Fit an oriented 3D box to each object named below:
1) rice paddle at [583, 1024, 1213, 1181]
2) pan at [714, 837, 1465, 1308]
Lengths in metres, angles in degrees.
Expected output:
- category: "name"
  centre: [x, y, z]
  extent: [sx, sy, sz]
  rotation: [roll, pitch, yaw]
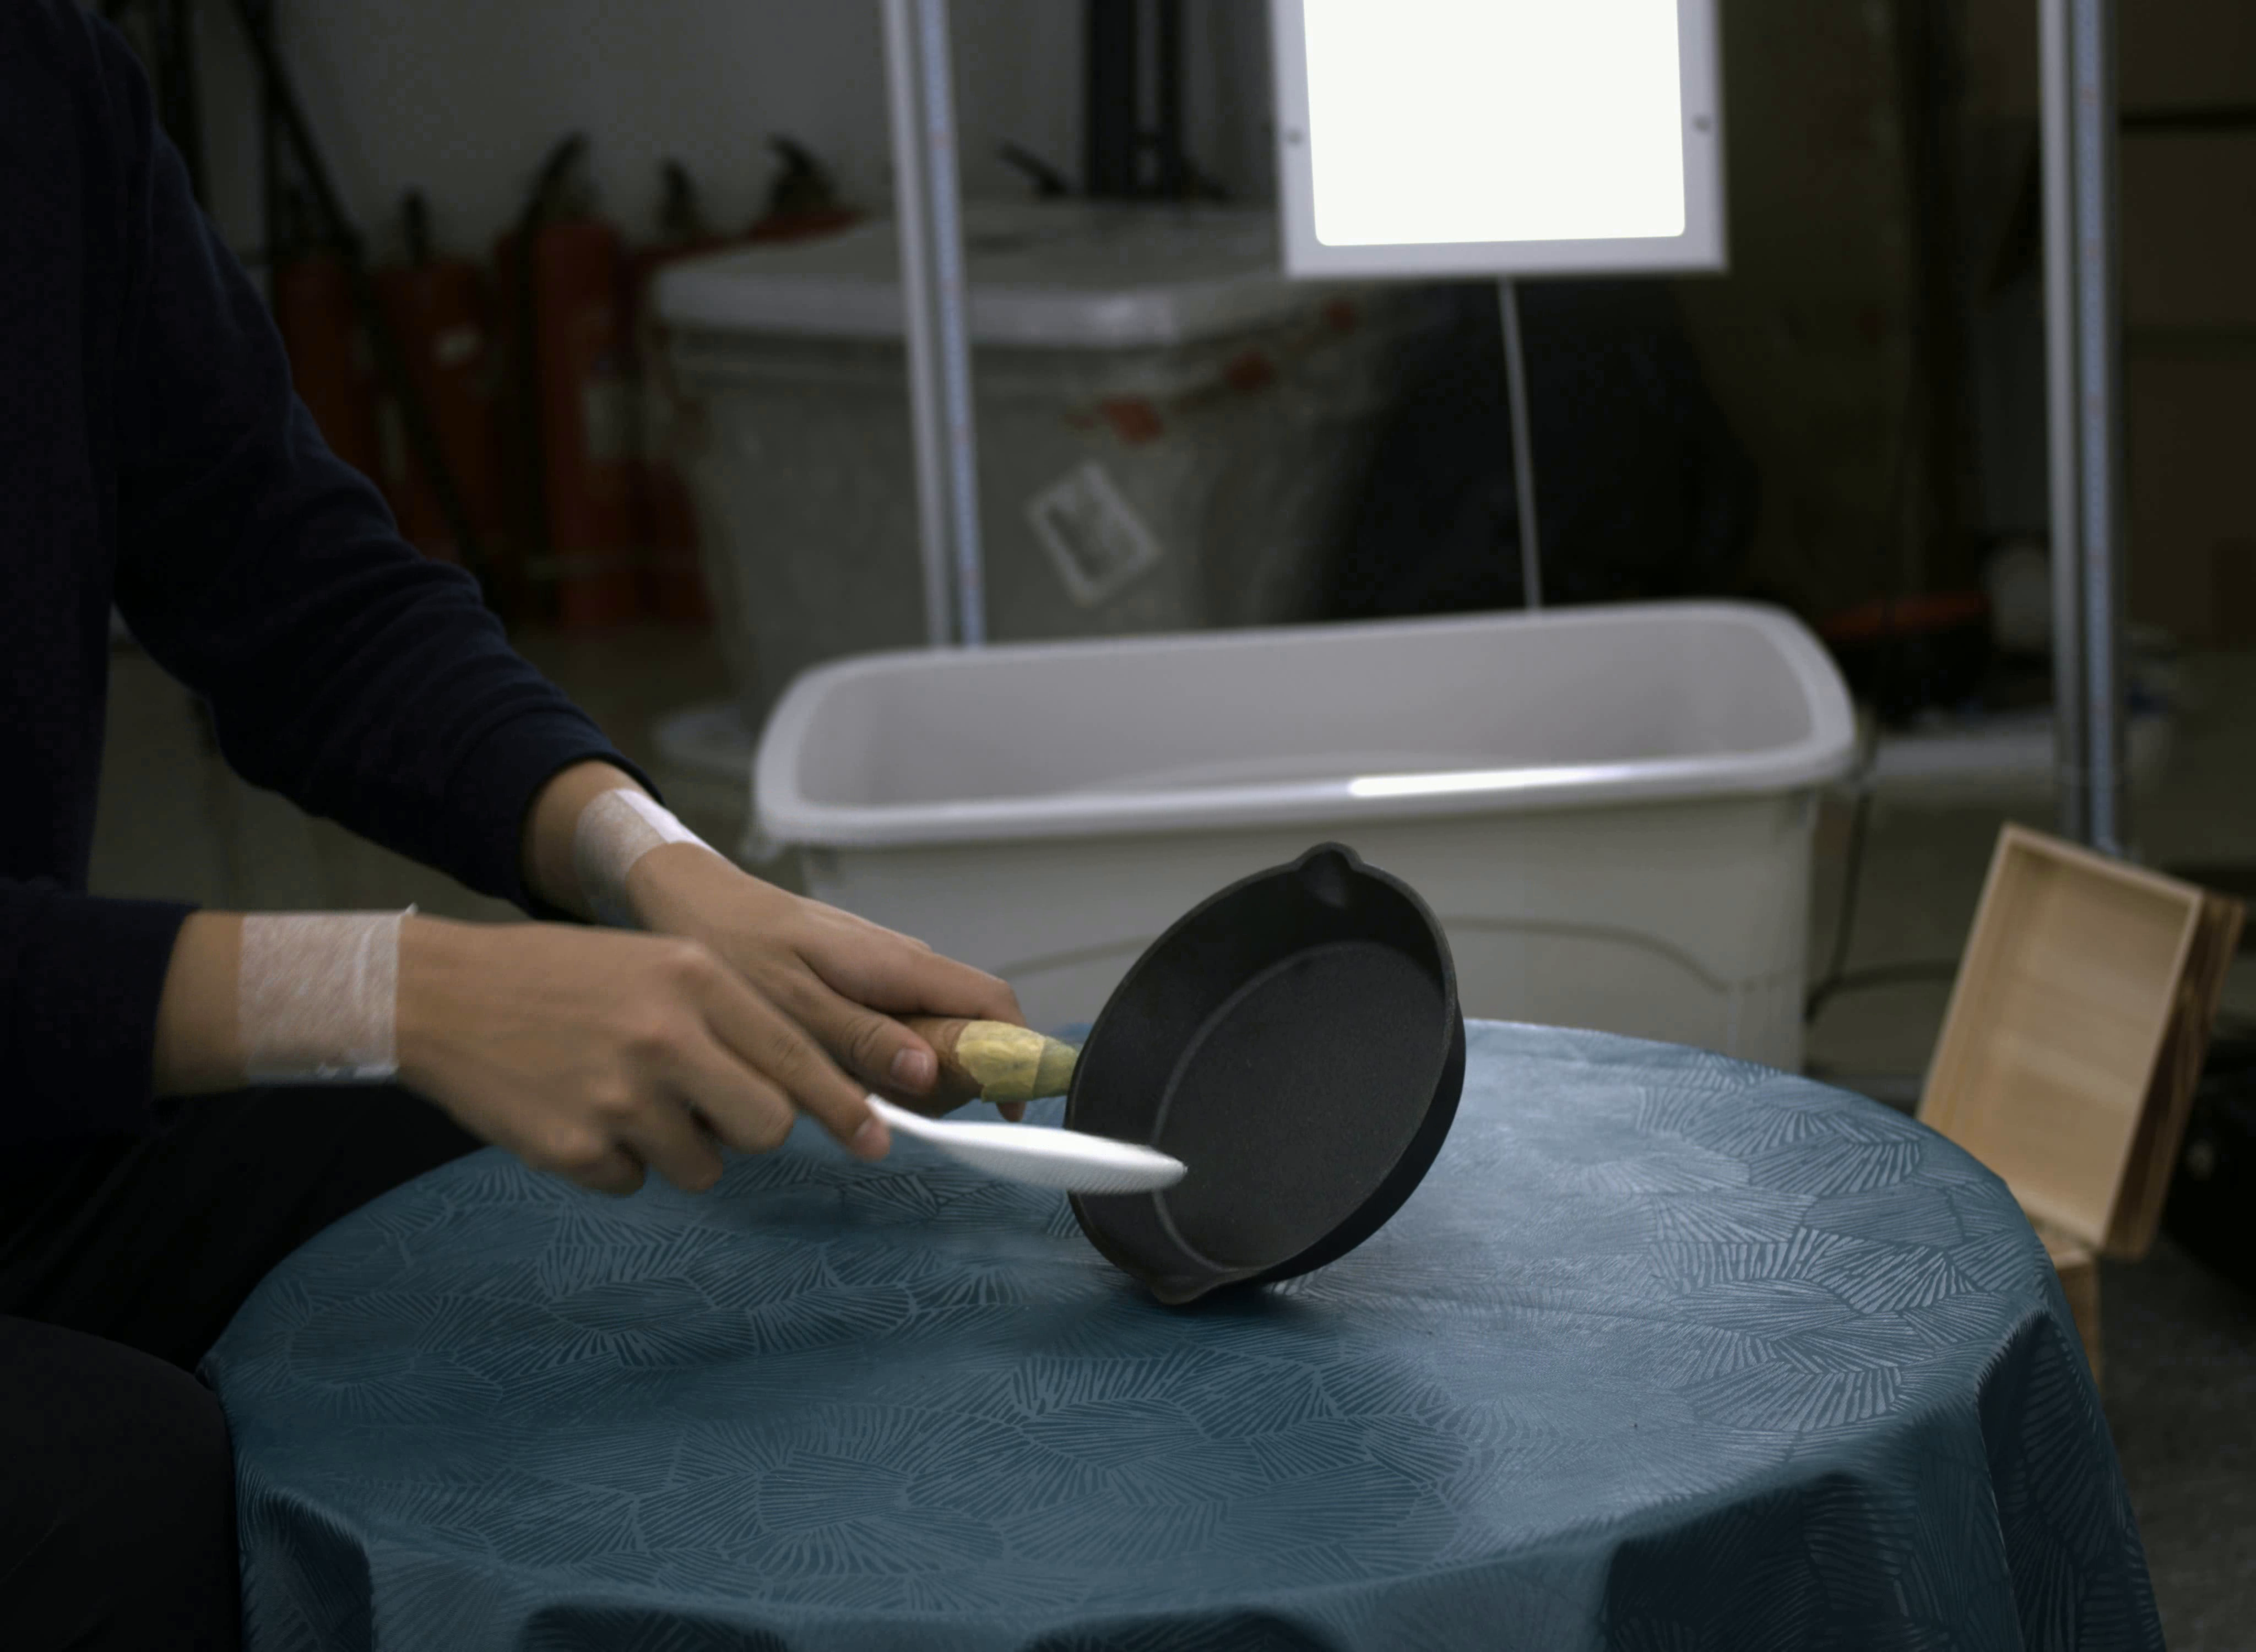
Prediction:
- category: "rice paddle"
  centre: [-0.073, 0.092, 1.783]
  extent: [0.205, 0.029, 0.068]
  rotation: [8, 3, 2]
- category: "pan"
  centre: [-0.016, 0.079, 1.859]
  extent: [0.331, 0.168, 0.049]
  rotation: [3, -25, 44]
